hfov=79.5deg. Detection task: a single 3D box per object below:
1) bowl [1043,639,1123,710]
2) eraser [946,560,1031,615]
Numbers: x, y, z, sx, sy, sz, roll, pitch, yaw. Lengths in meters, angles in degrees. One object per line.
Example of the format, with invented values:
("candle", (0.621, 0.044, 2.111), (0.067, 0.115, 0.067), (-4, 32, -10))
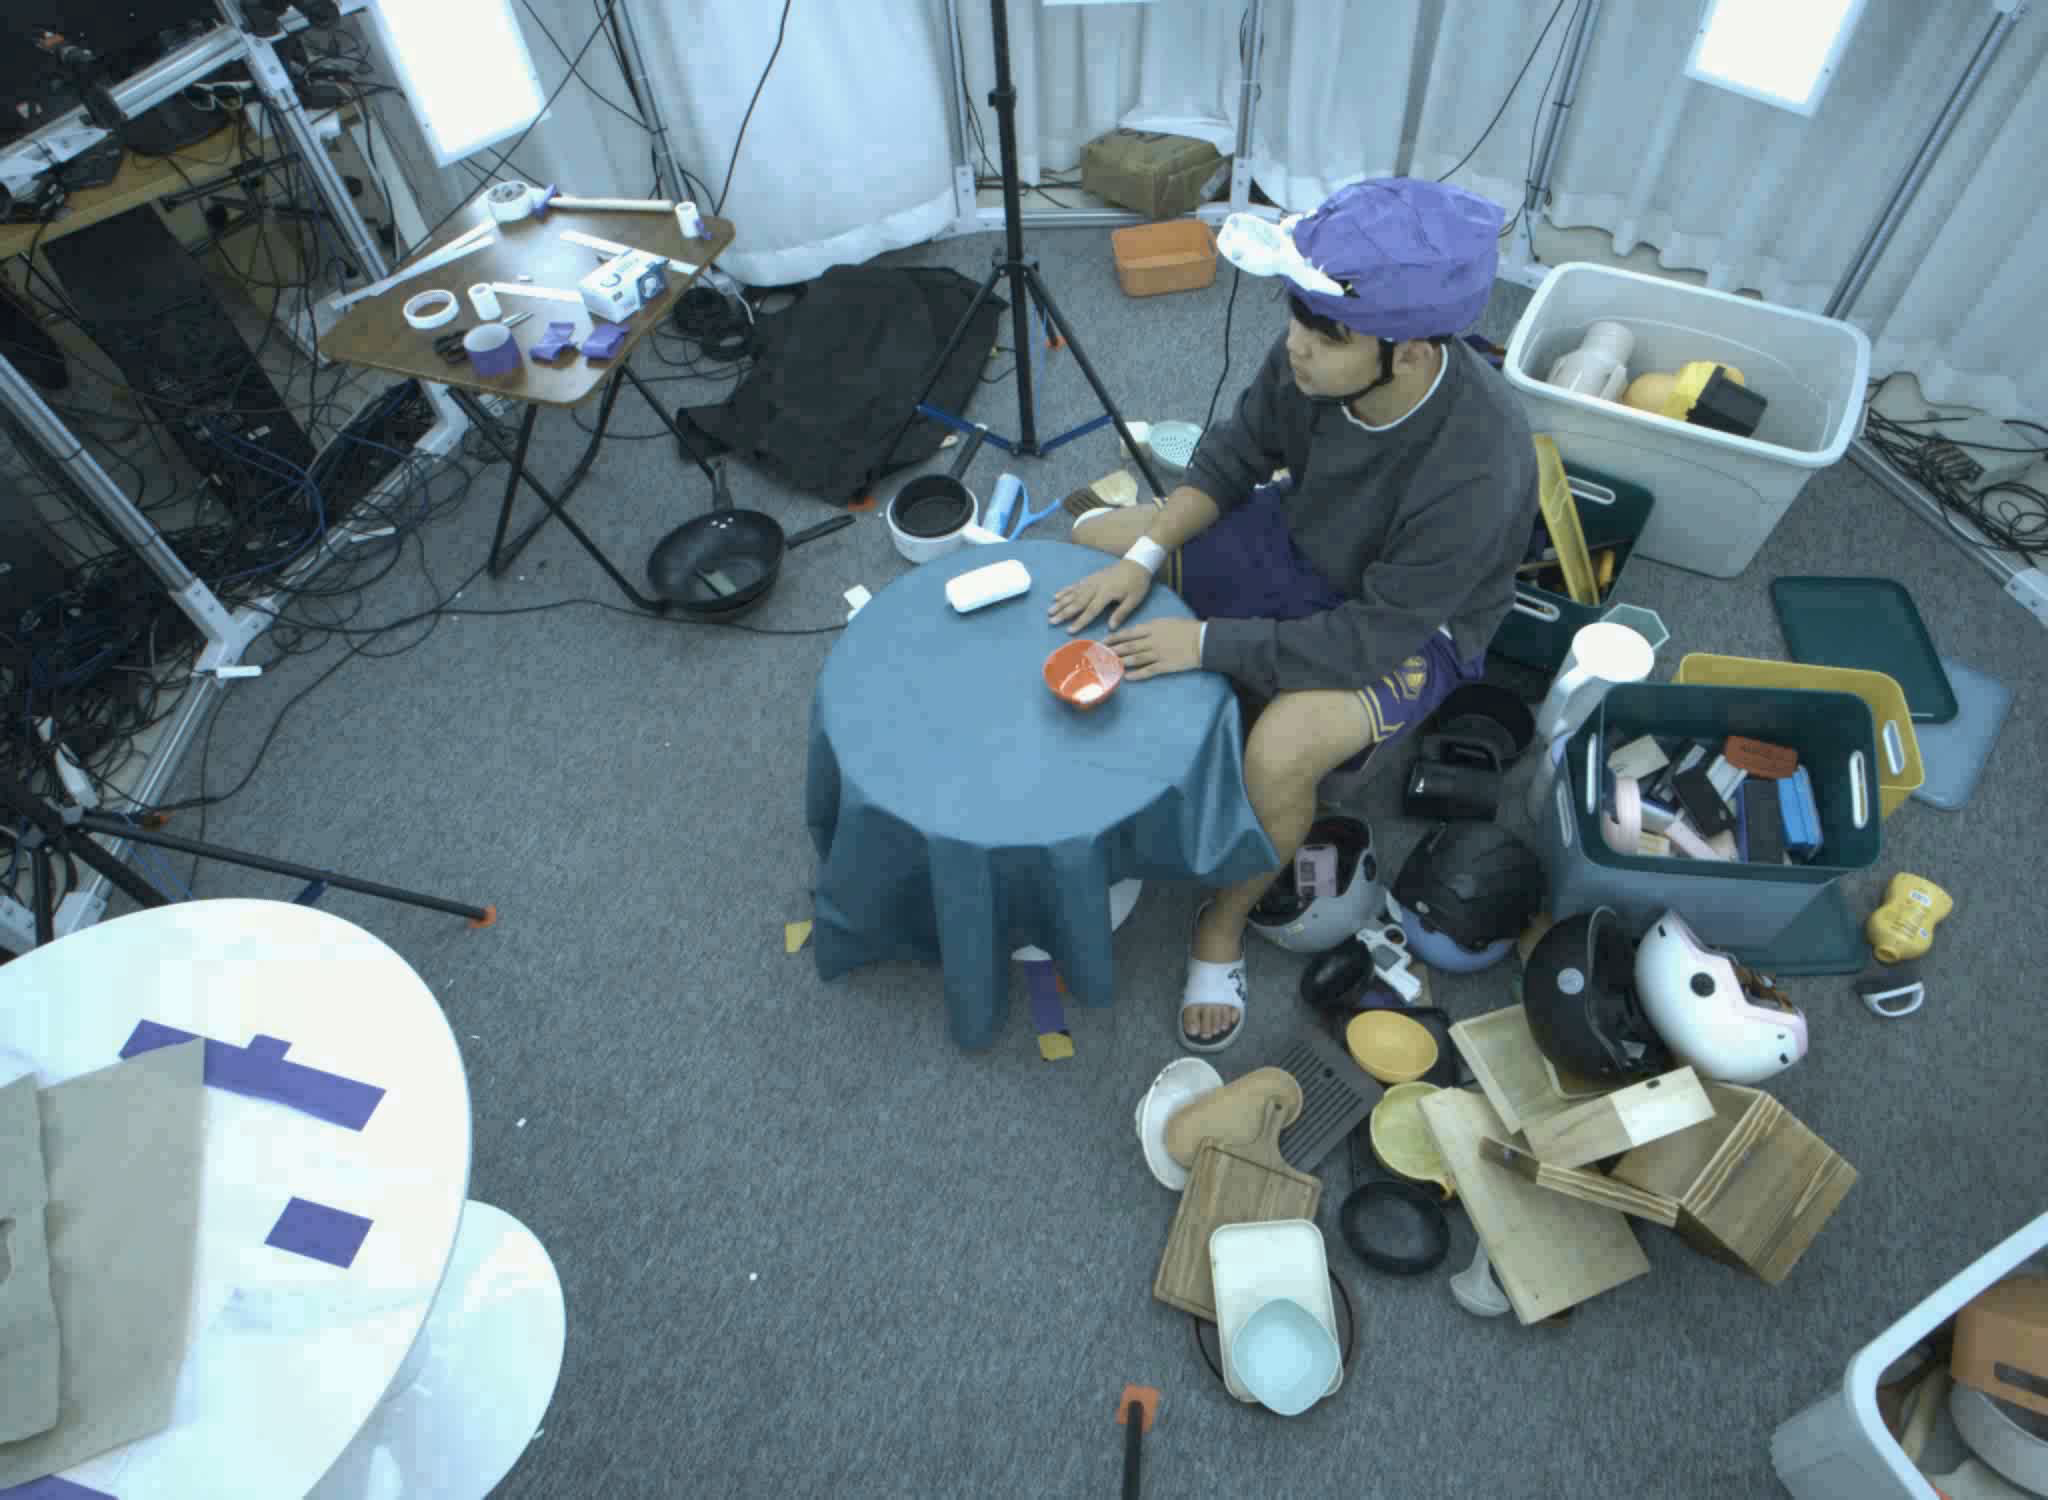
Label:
("bowl", (0.088, -0.105, 1.830), (0.119, 0.052, 0.117), (-1, 54, 2))
("eraser", (-0.056, -0.260, 1.957), (0.132, 0.035, 0.062), (-20, 57, -10))
